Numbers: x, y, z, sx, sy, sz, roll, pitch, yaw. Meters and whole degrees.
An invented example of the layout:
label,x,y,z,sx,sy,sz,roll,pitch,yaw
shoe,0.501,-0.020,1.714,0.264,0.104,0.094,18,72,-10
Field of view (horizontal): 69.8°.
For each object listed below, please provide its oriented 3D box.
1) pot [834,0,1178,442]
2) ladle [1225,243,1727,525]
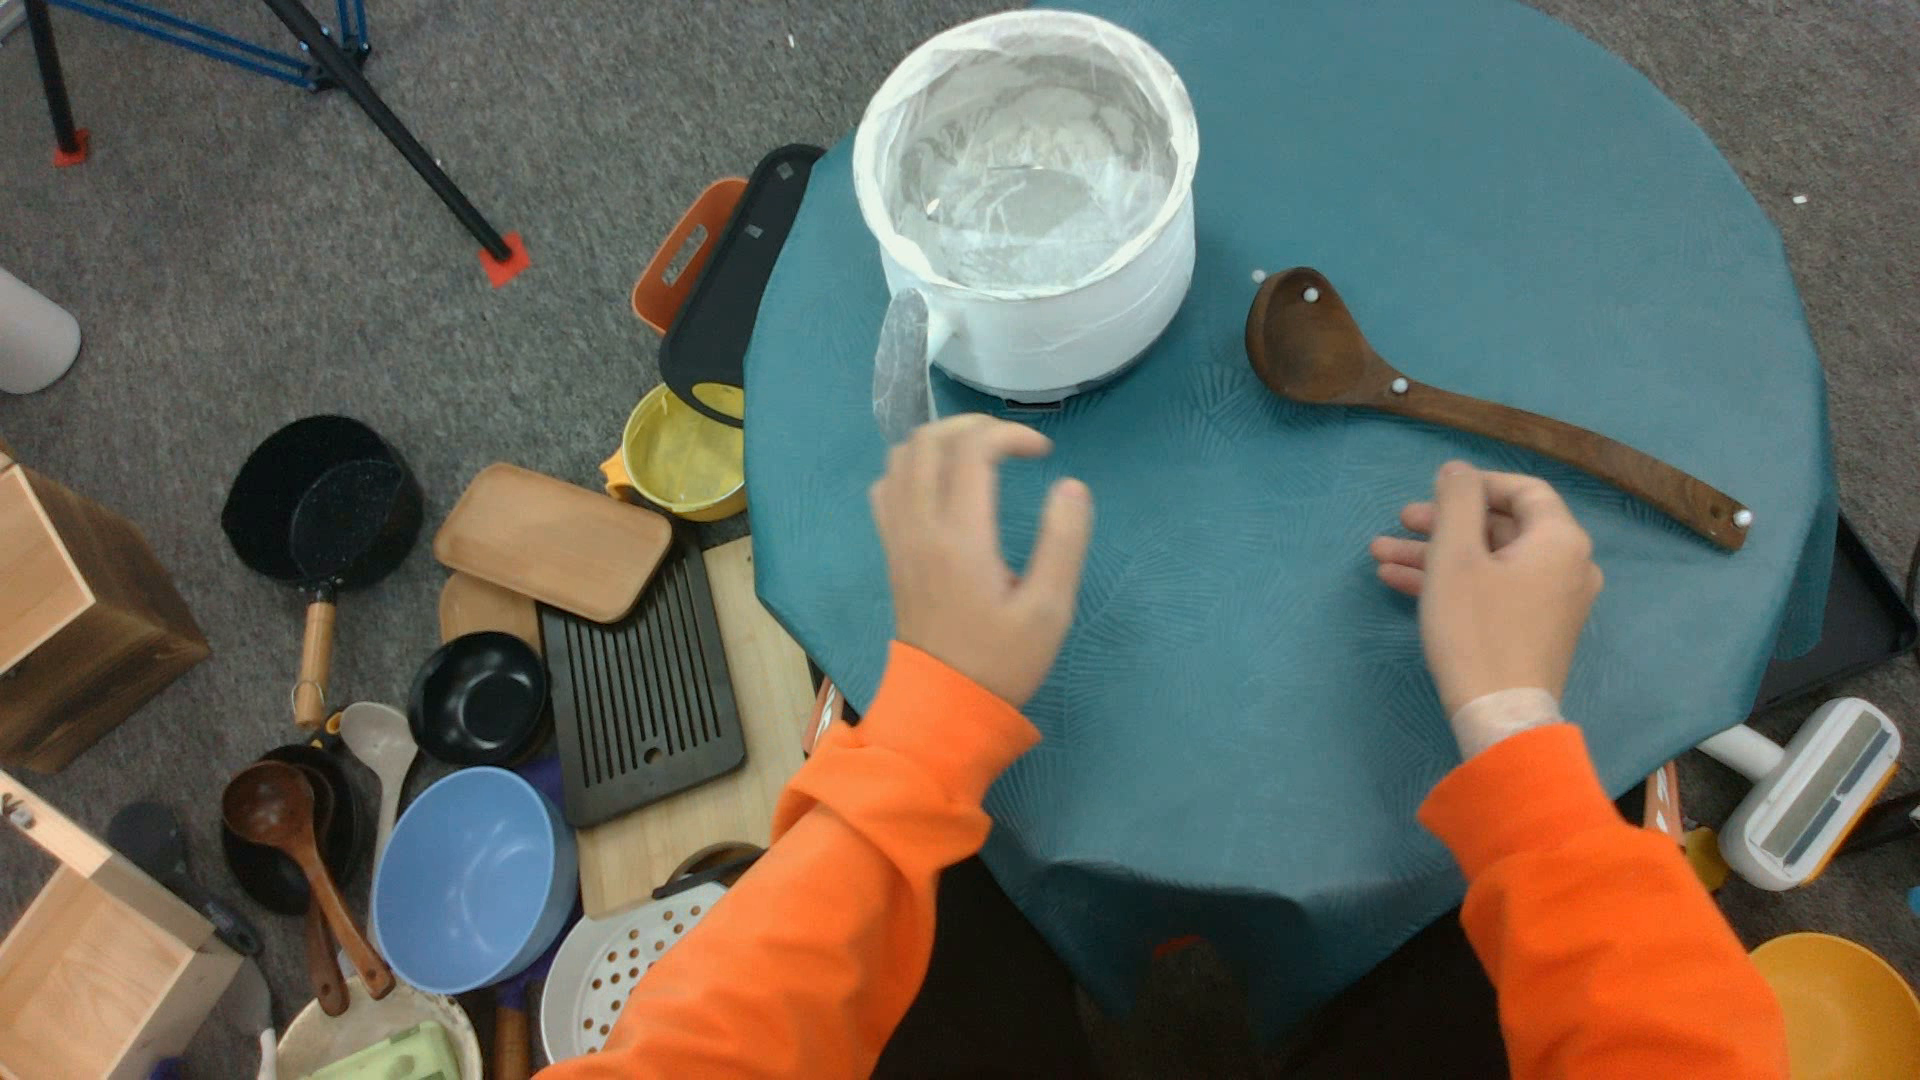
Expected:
label,x,y,z,sx,sy,sz,roll,pitch,yaw
pot,0.016,-0.166,0.752,0.178,0.136,0.234,29,75,17
ladle,0.271,-0.080,0.722,0.274,0.071,0.076,24,77,16
